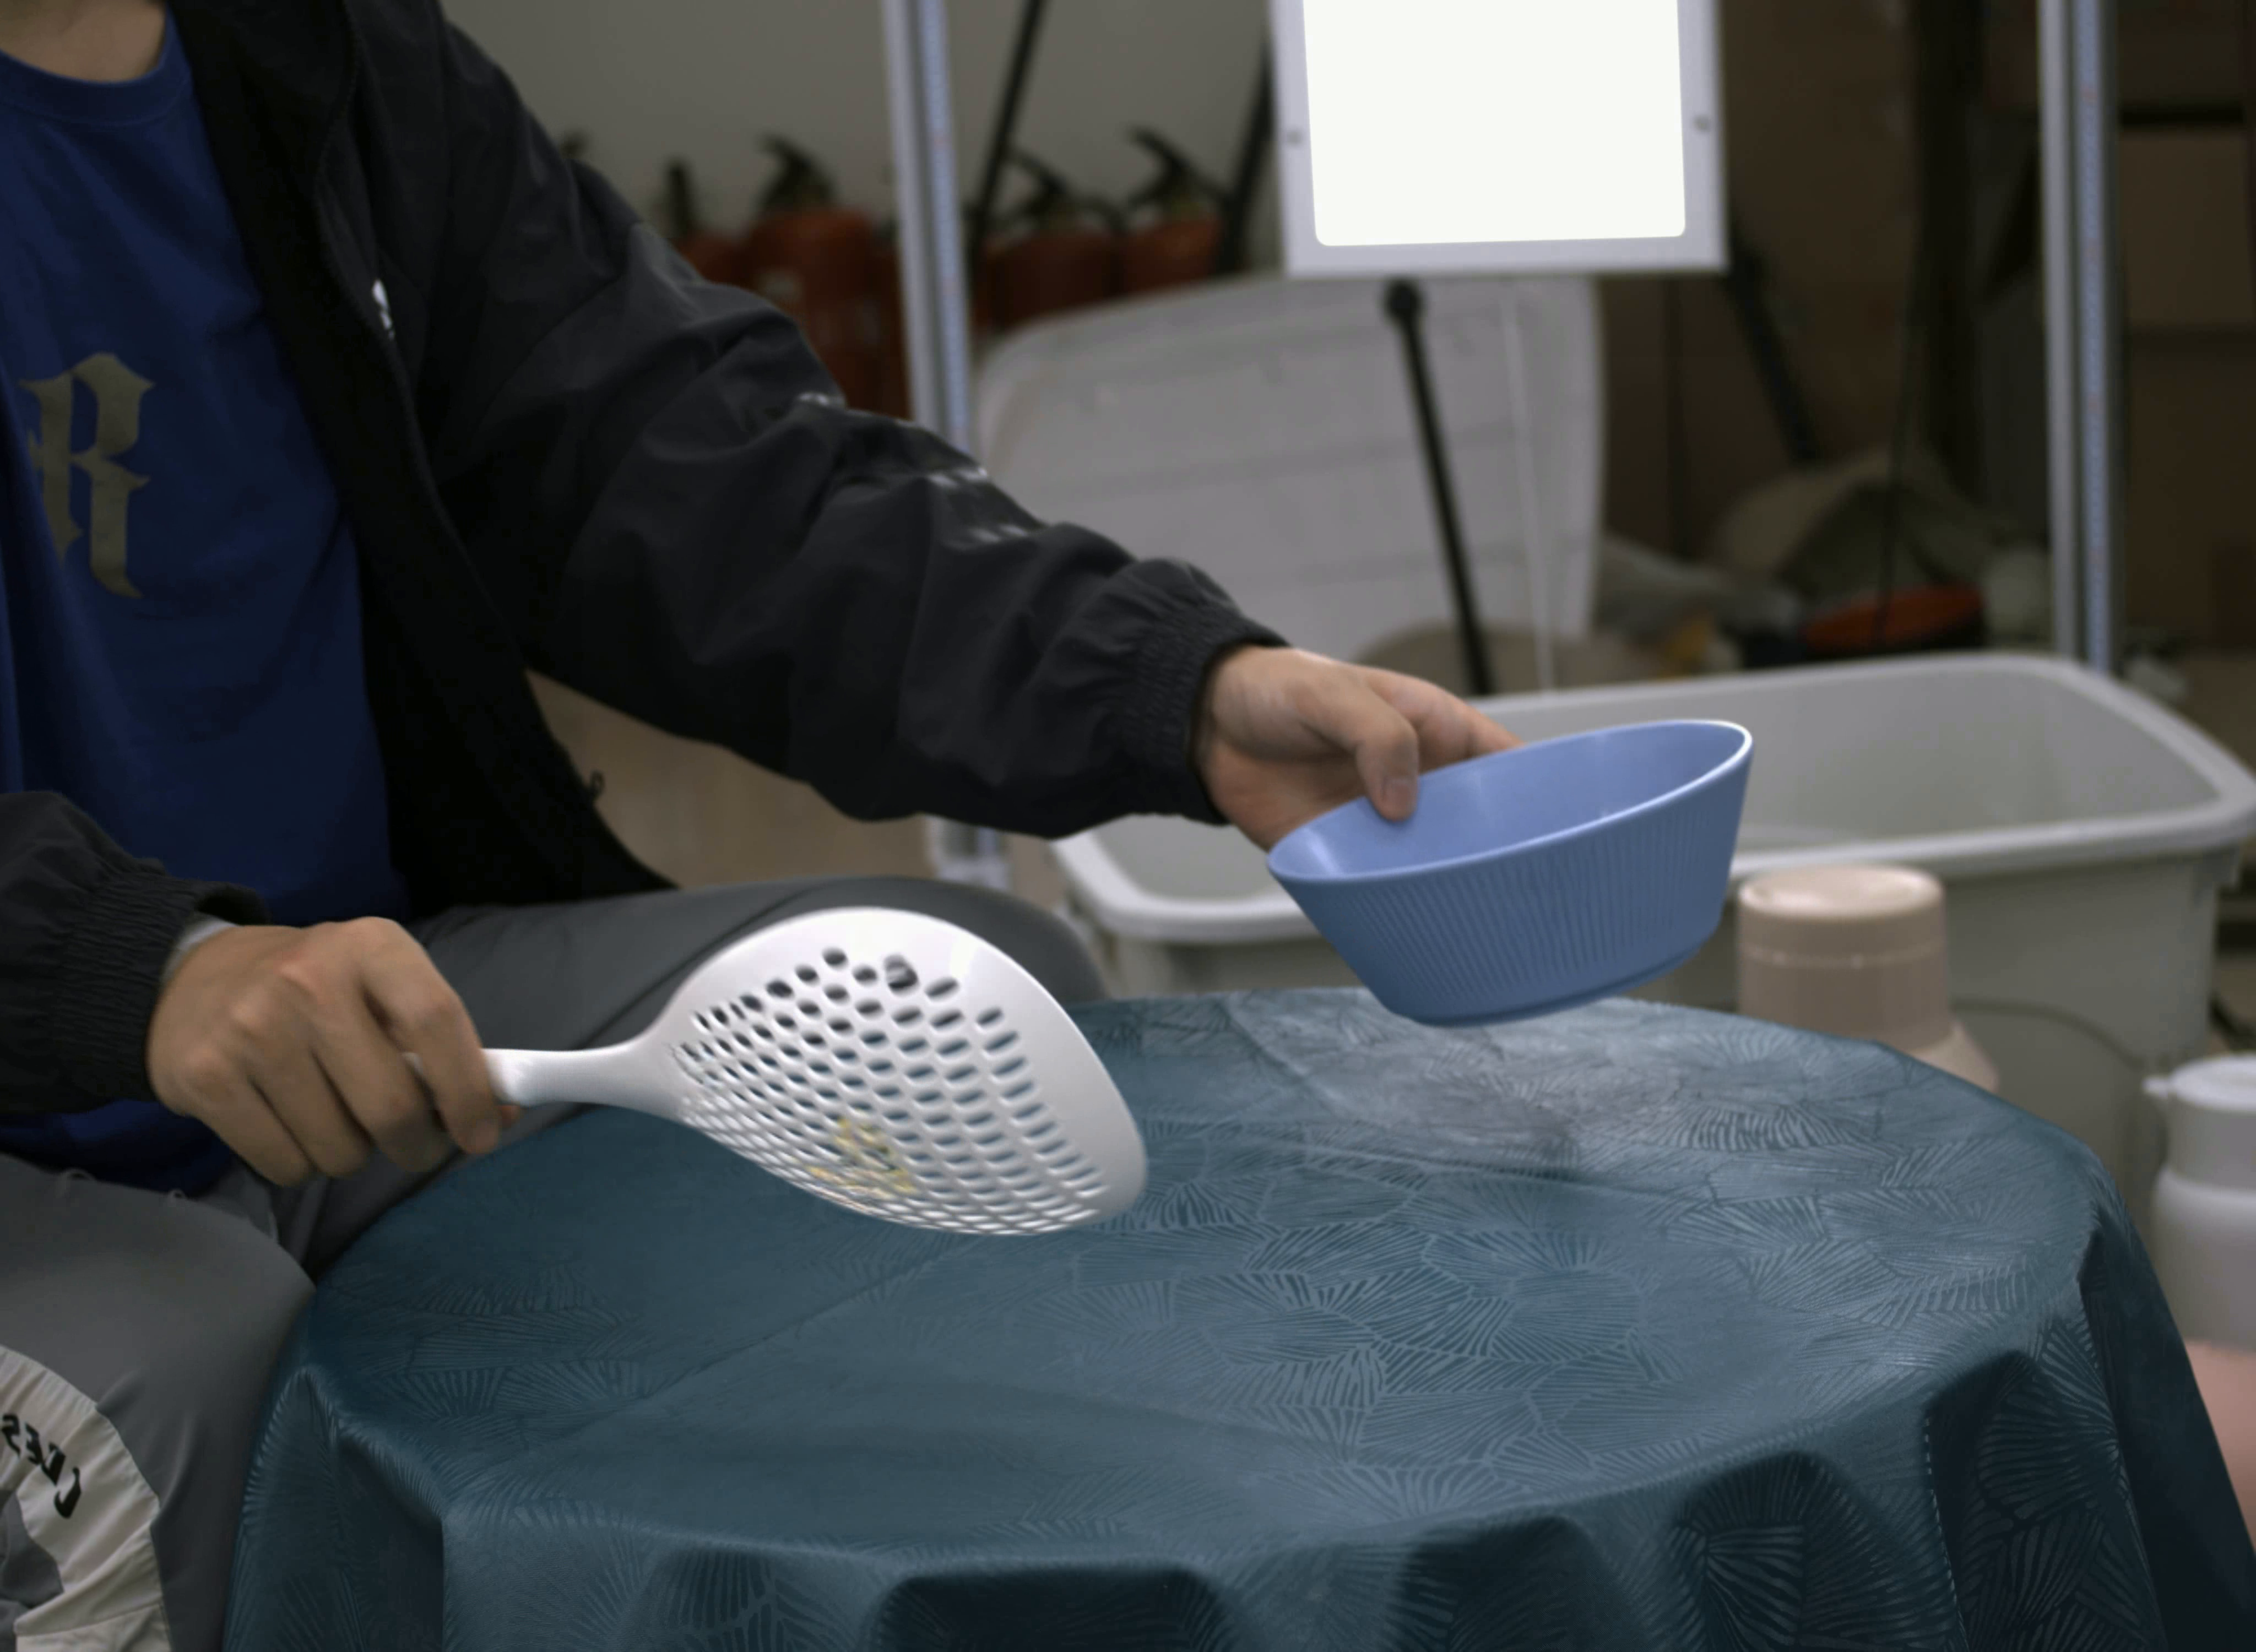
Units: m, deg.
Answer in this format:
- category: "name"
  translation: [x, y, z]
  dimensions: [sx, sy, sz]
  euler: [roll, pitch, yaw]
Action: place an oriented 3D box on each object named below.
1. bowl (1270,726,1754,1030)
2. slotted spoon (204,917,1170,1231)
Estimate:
- category: "bowl"
  translation: [0.142, 0.022, 1.920]
  dimensions: [0.176, 0.070, 0.176]
  euler: [-16, 9, 1]
- category: "slotted spoon"
  translation: [-0.146, 0.084, 1.700]
  dimensions: [0.355, 0.135, 0.049]
  euler: [2, 49, 38]
